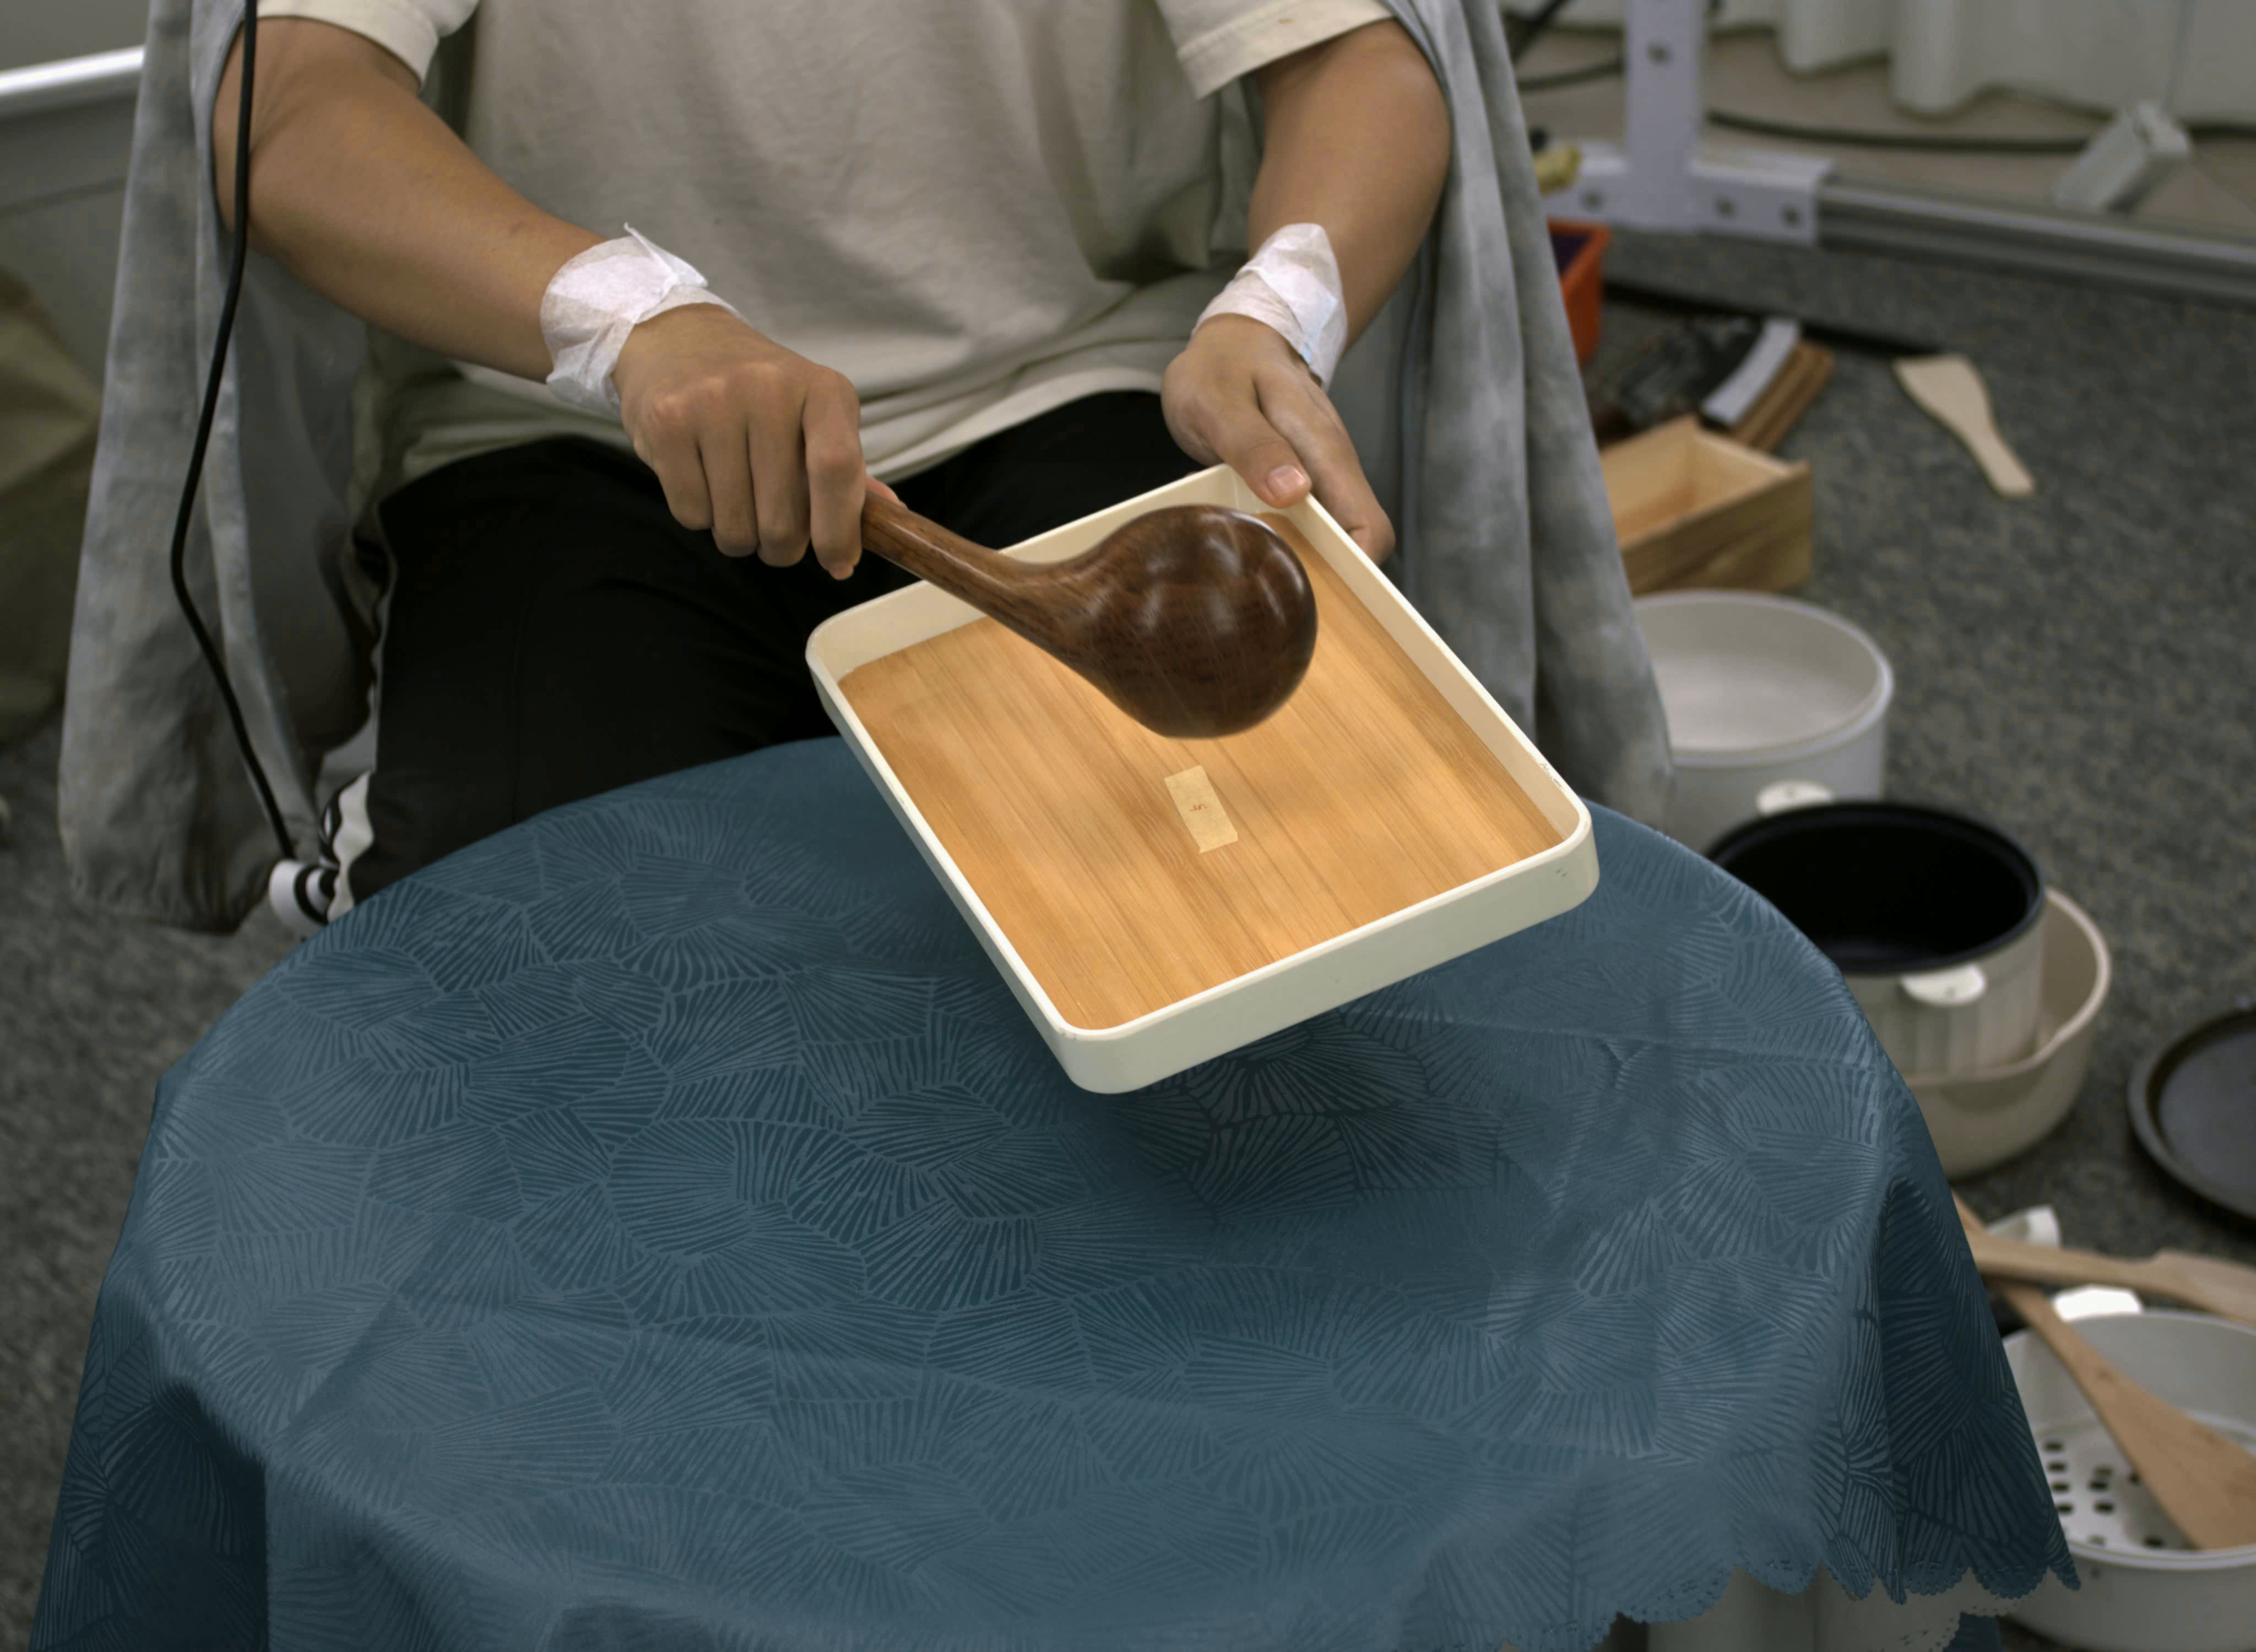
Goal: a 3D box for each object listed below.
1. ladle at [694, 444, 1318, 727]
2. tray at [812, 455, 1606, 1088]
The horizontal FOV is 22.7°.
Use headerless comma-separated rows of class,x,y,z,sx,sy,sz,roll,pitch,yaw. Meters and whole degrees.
ladle,-0.043,-0.099,1.932,0.077,0.081,0.274,-8,20,-37
tray,0.022,-0.024,1.918,0.192,0.027,0.303,-22,34,-10
